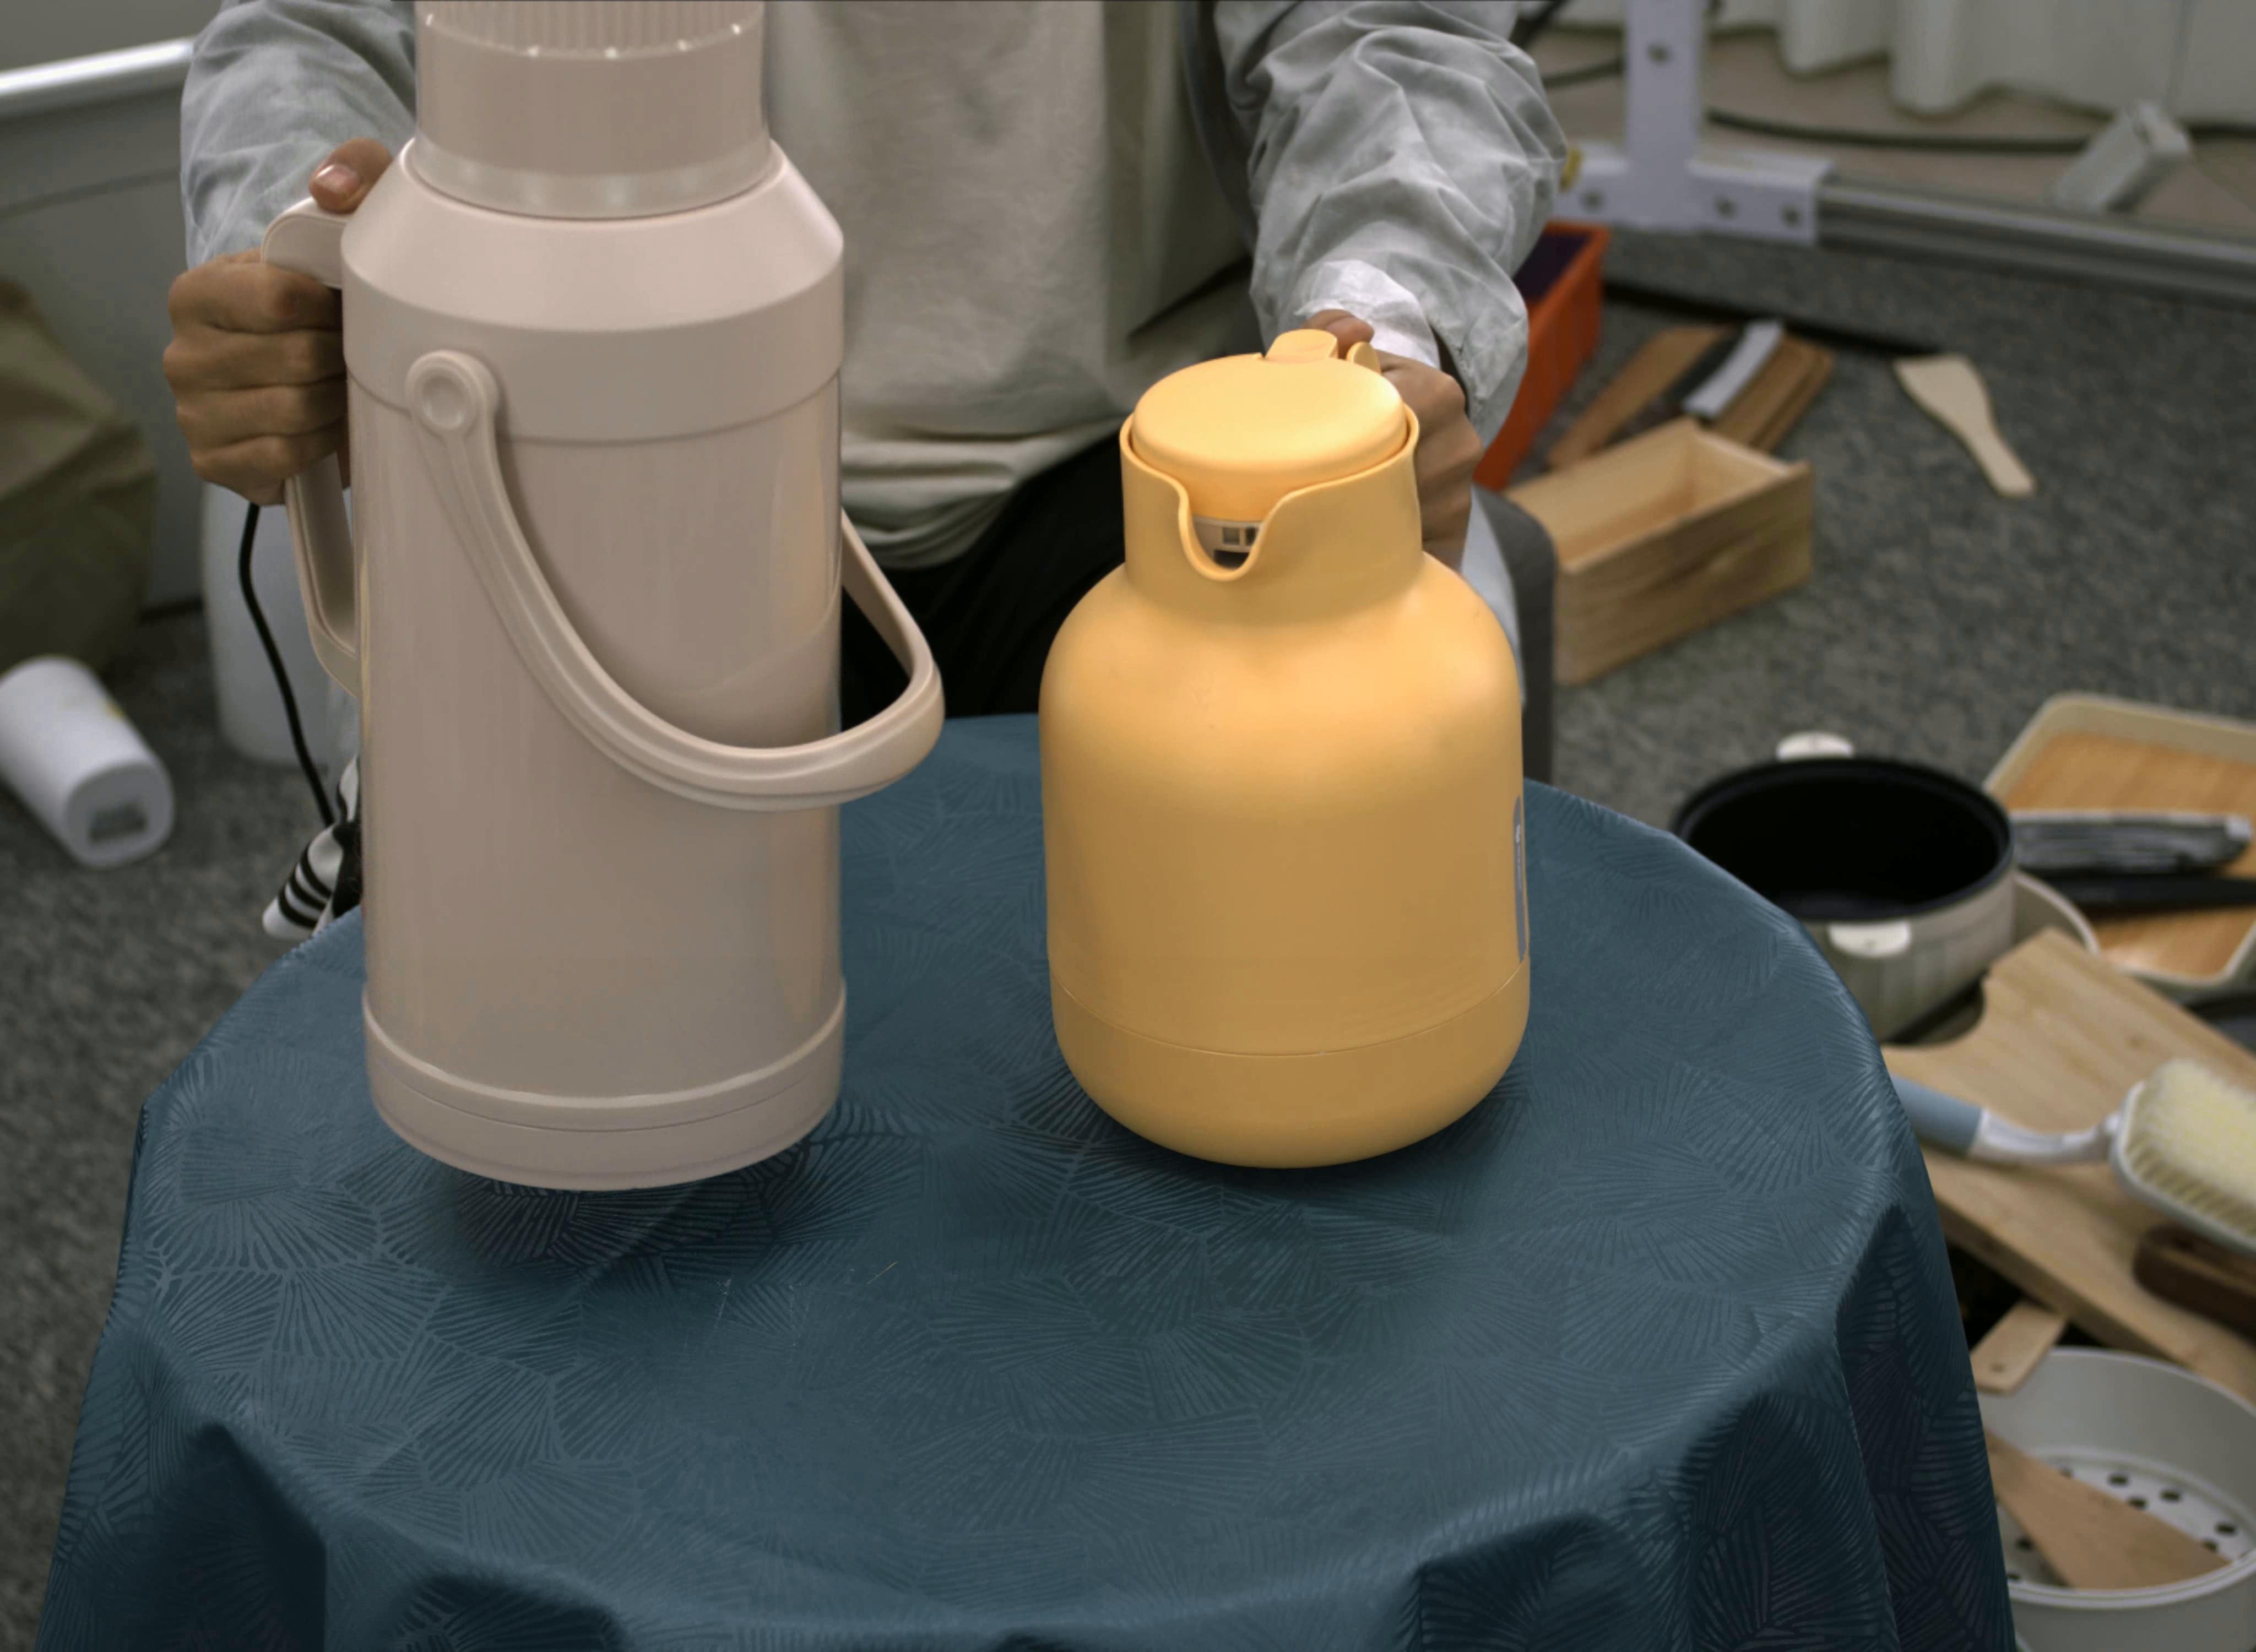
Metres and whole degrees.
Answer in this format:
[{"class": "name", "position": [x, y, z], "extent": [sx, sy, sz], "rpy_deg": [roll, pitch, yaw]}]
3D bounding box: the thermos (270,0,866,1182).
[{"class": "thermos", "position": [-0.181, -0.101, 1.798], "extent": [0.206, 0.402, 0.178], "rpy_deg": [14, 27, 23]}]

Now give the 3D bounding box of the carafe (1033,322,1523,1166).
[{"class": "carafe", "position": [0.055, -0.036, 1.880], "extent": [0.162, 0.257, 0.206], "rpy_deg": [6, 29, 14]}]
